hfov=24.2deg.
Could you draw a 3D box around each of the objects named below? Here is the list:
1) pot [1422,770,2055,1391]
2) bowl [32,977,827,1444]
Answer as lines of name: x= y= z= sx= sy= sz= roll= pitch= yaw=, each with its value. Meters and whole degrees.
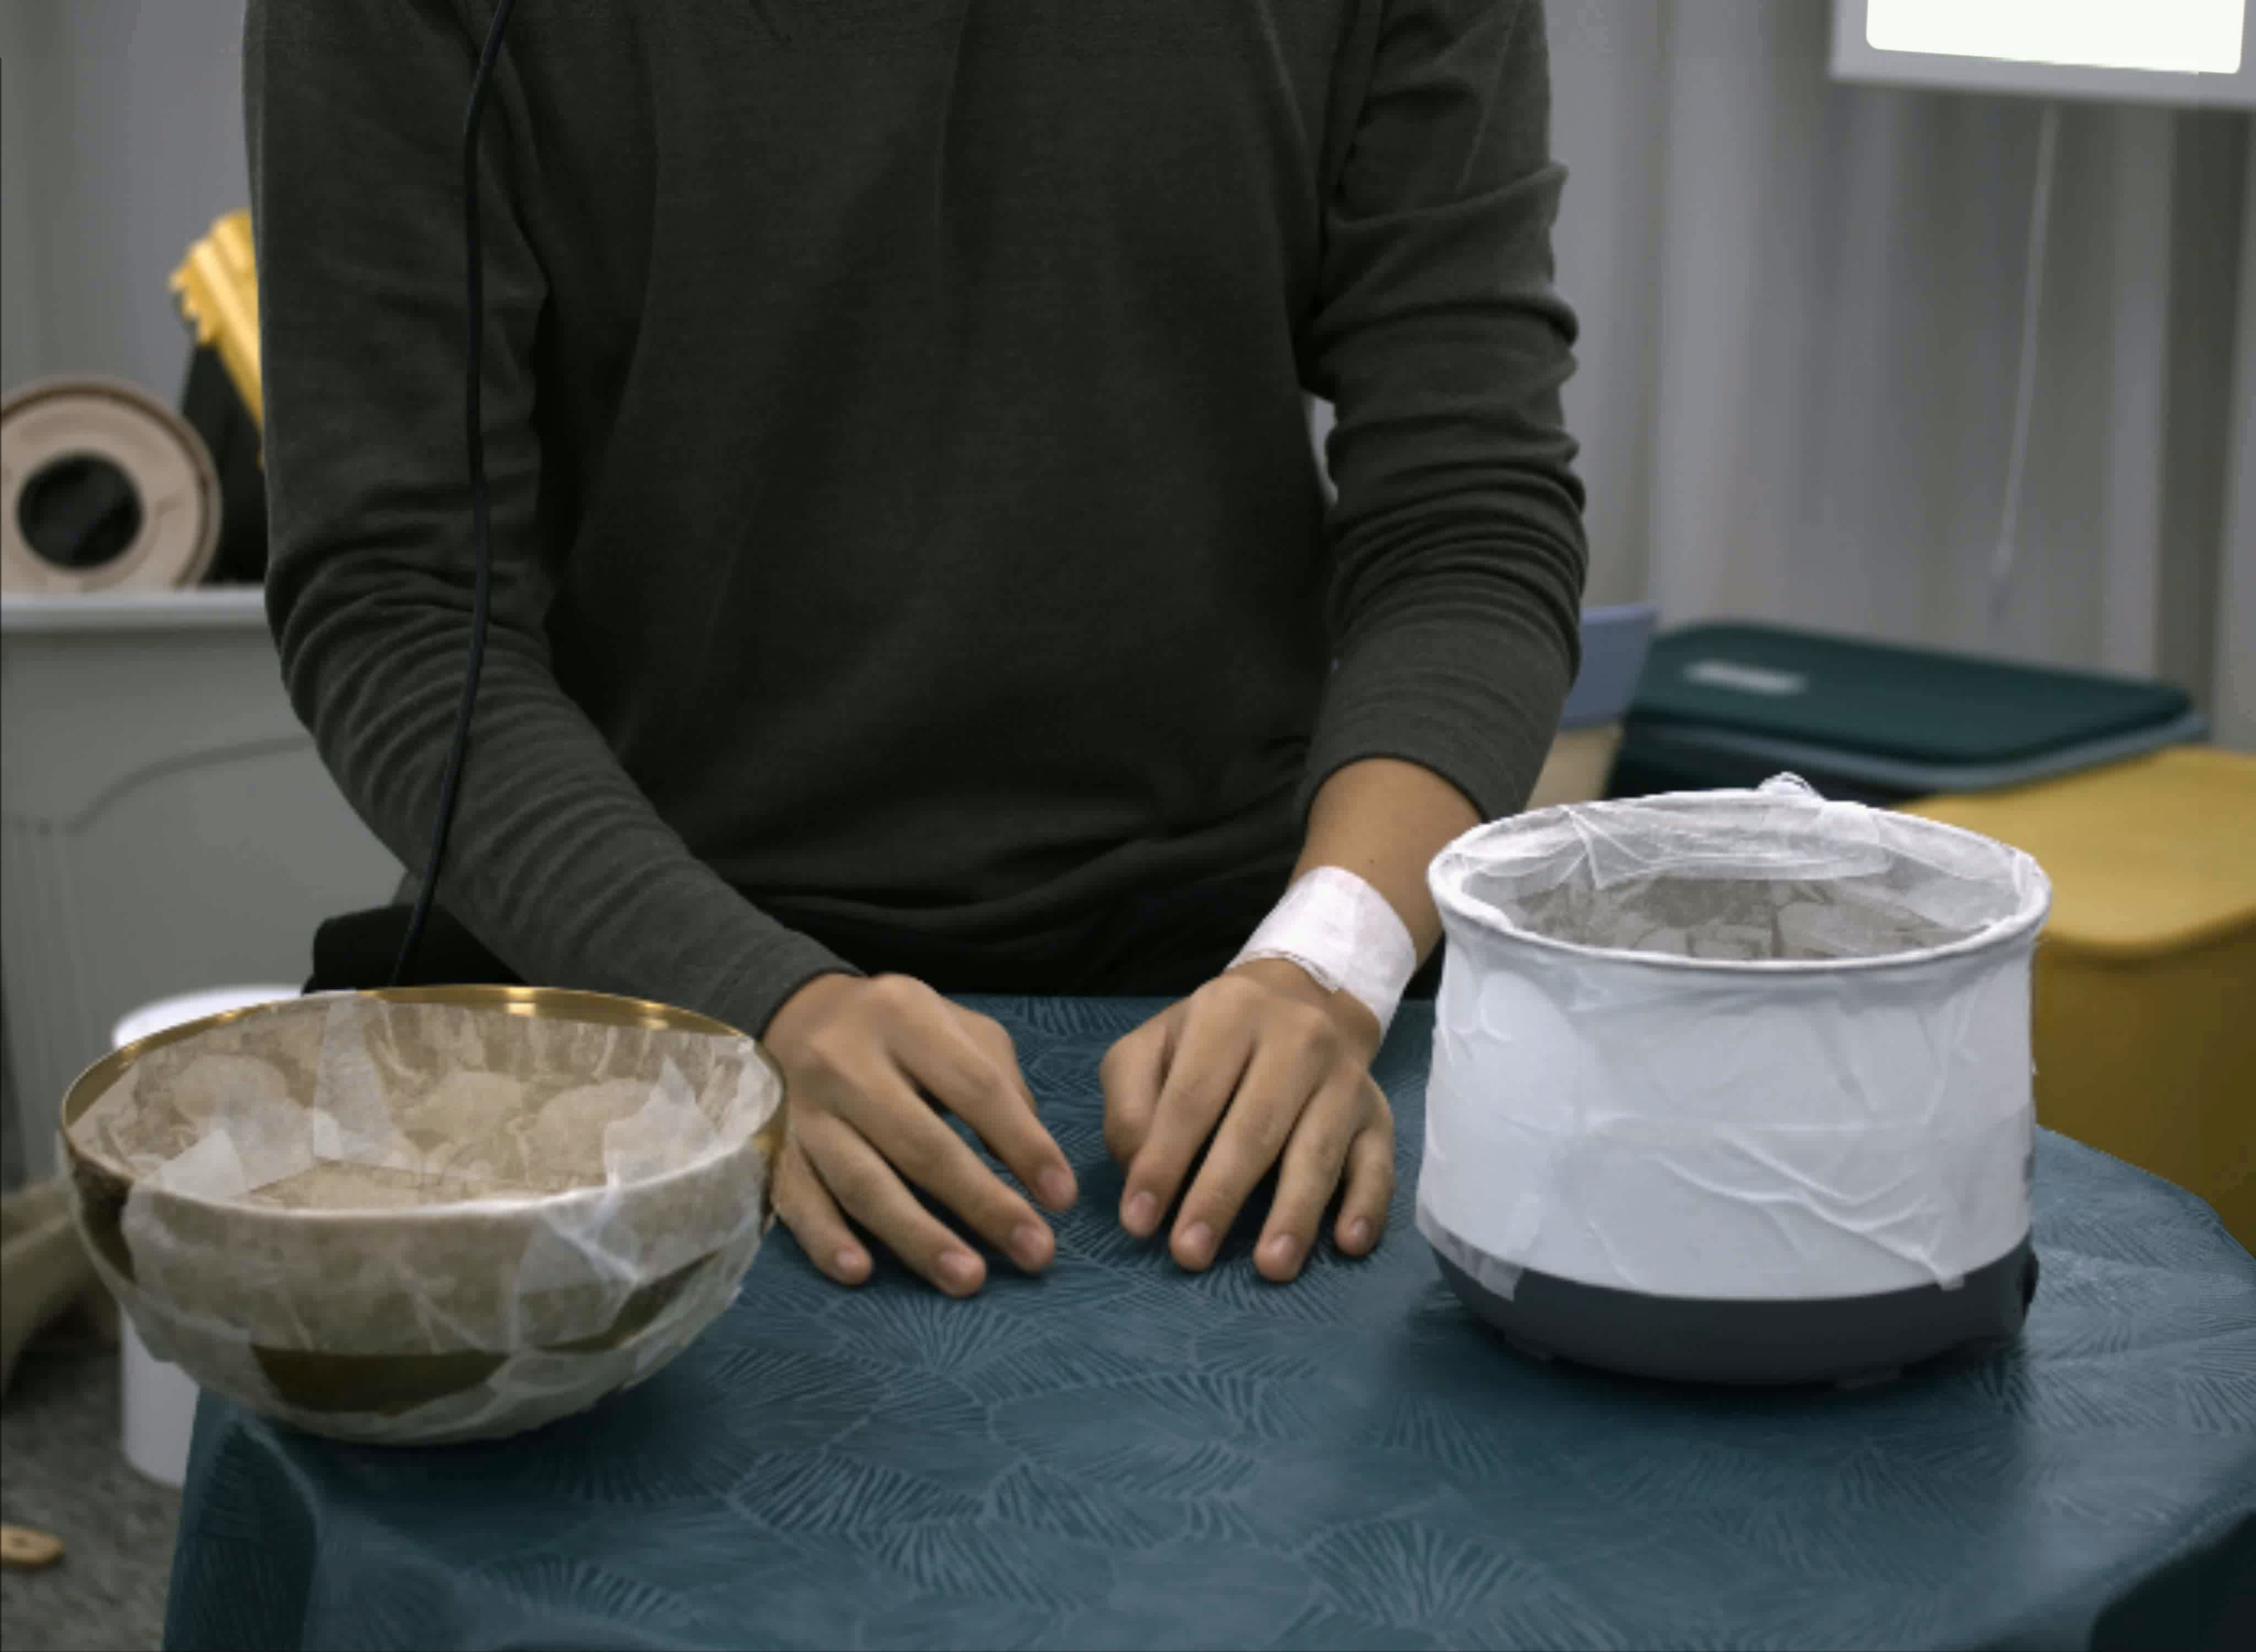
pot: x=0.179 y=0.067 z=1.535 sx=0.177 sy=0.138 sz=0.233 roll=4 pitch=16 yaw=12
bowl: x=-0.190 y=0.113 z=1.441 sx=0.214 sy=0.095 sz=0.213 roll=-1 pitch=14 yaw=1
